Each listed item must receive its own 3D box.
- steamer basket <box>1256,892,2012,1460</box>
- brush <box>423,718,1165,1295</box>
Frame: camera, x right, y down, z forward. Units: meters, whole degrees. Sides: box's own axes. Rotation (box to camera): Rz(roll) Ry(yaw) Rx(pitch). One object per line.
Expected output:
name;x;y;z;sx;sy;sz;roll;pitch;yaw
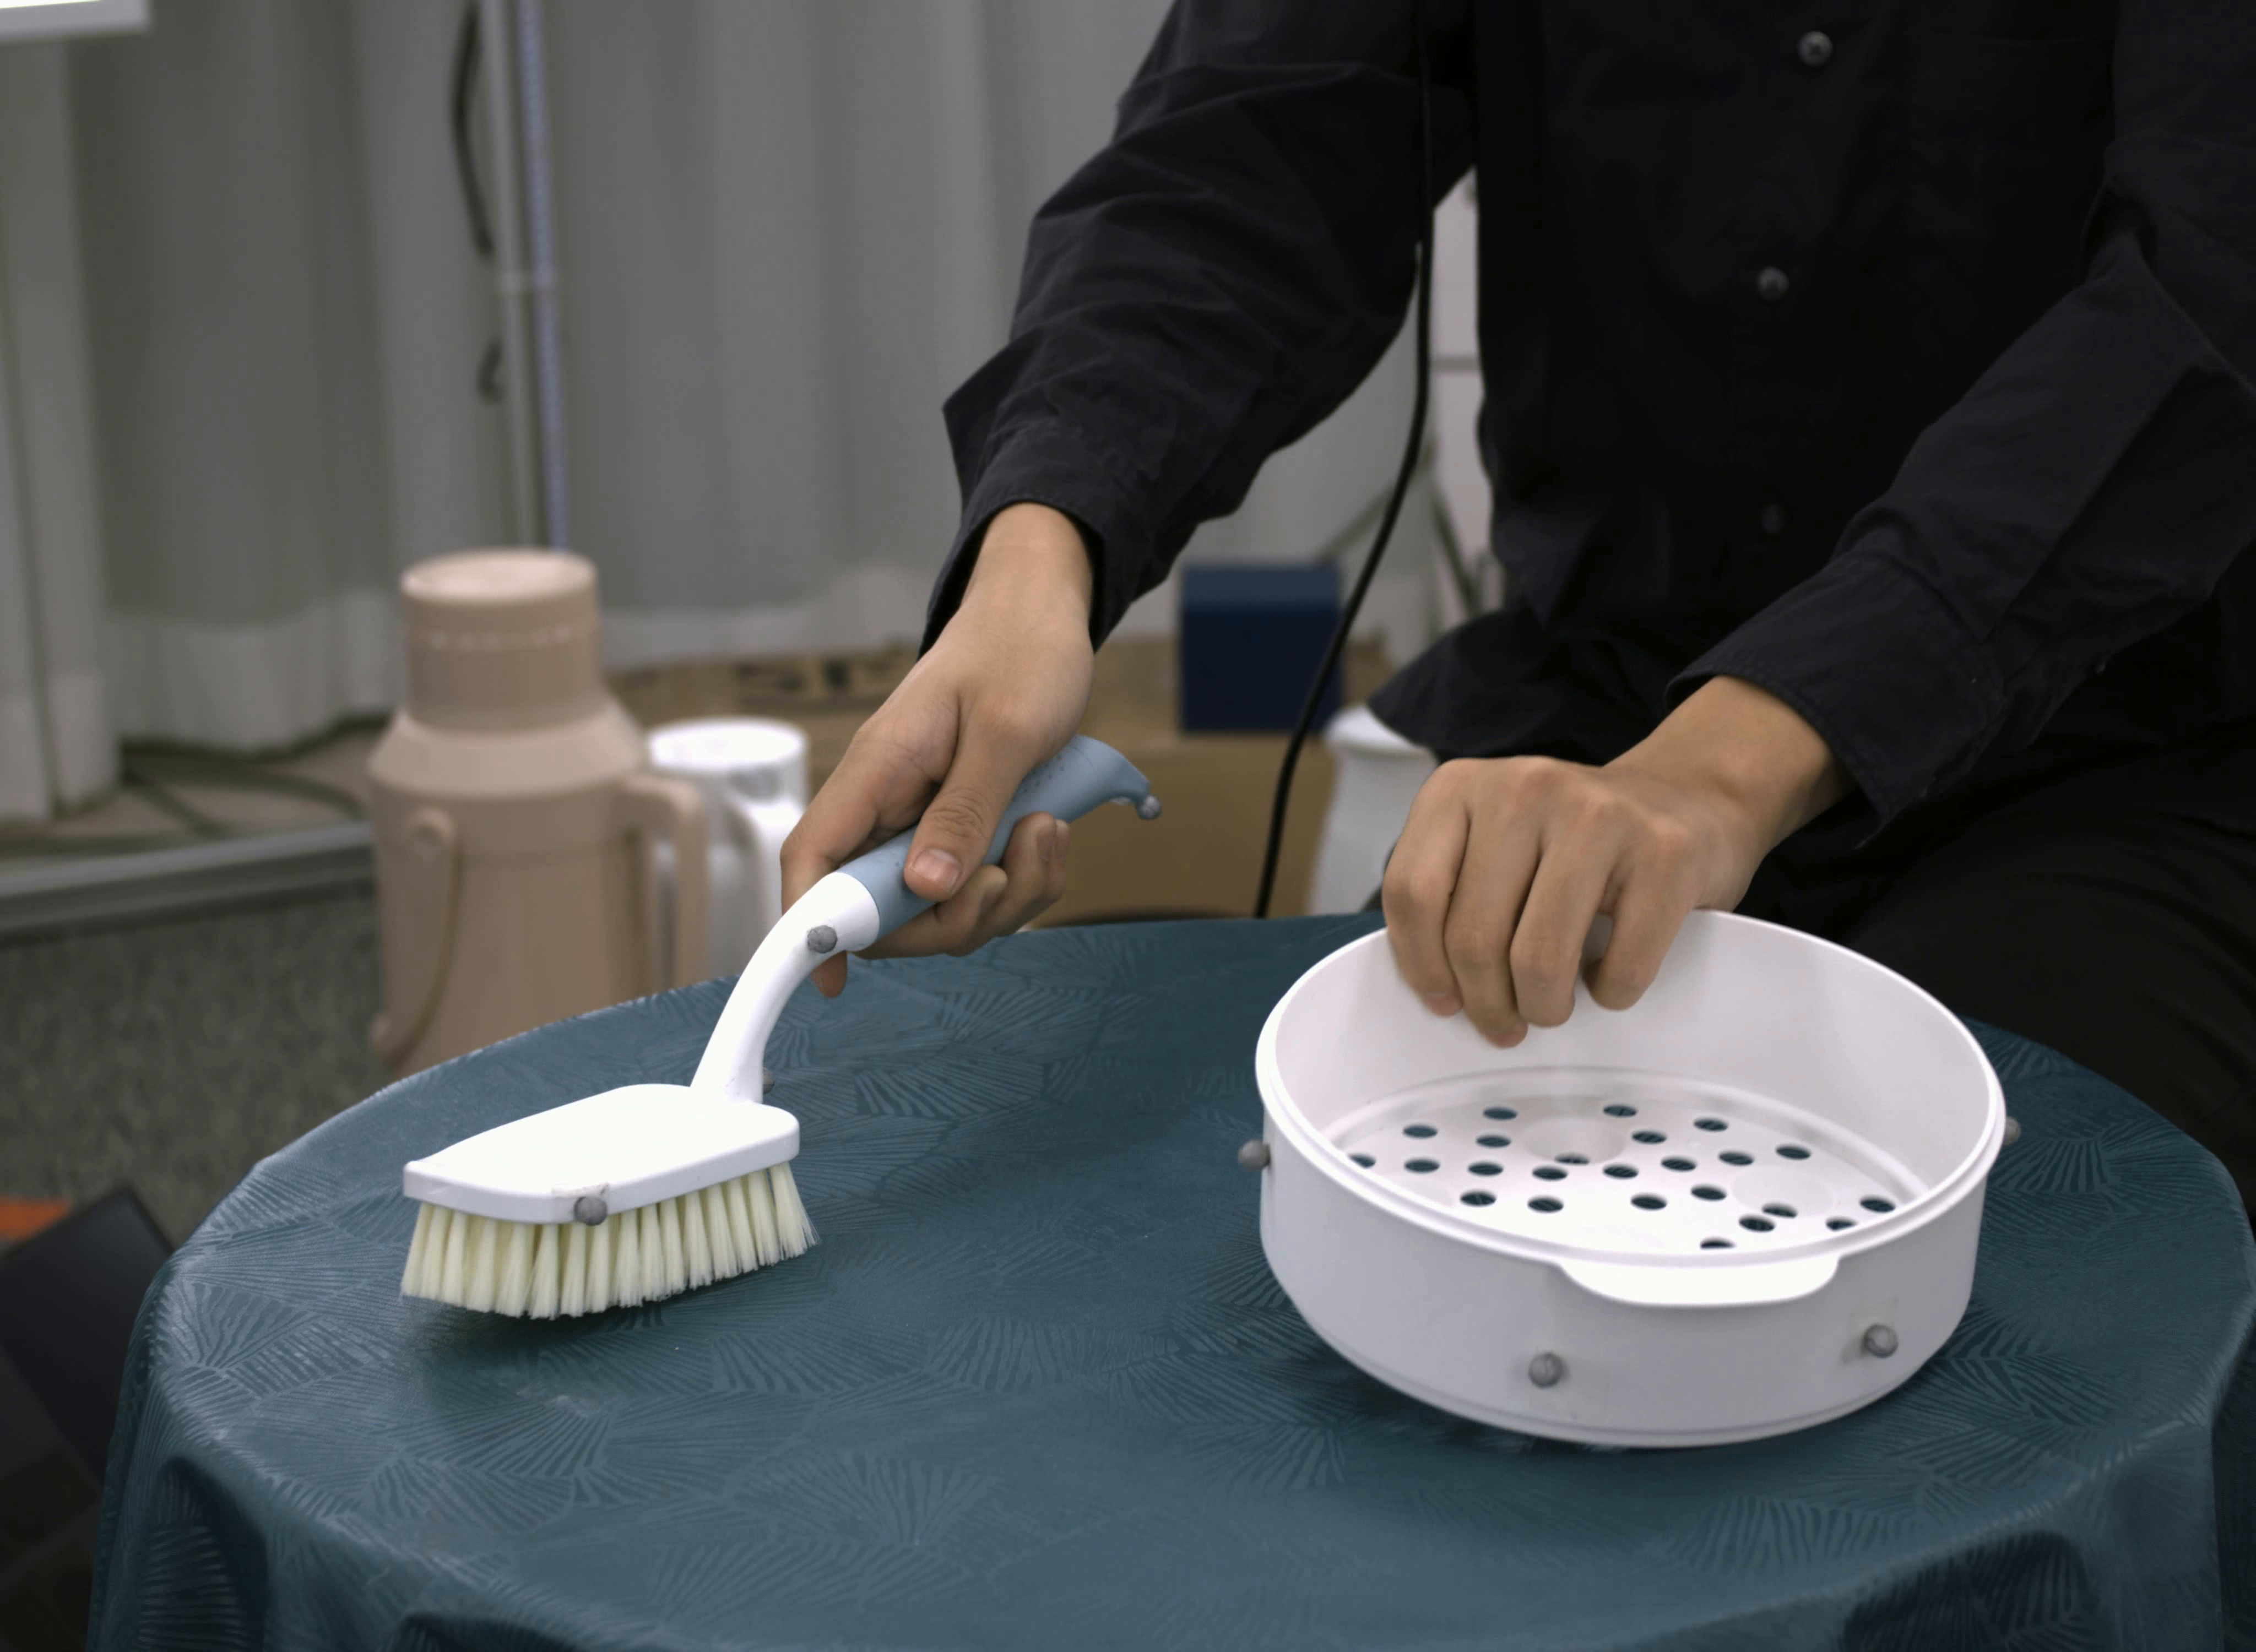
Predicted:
steamer basket;0.134;0.095;1.422;0.200;0.069;0.233;0;26;-5
brush;-0.085;0.068;1.577;0.084;0.085;0.320;43;44;16
